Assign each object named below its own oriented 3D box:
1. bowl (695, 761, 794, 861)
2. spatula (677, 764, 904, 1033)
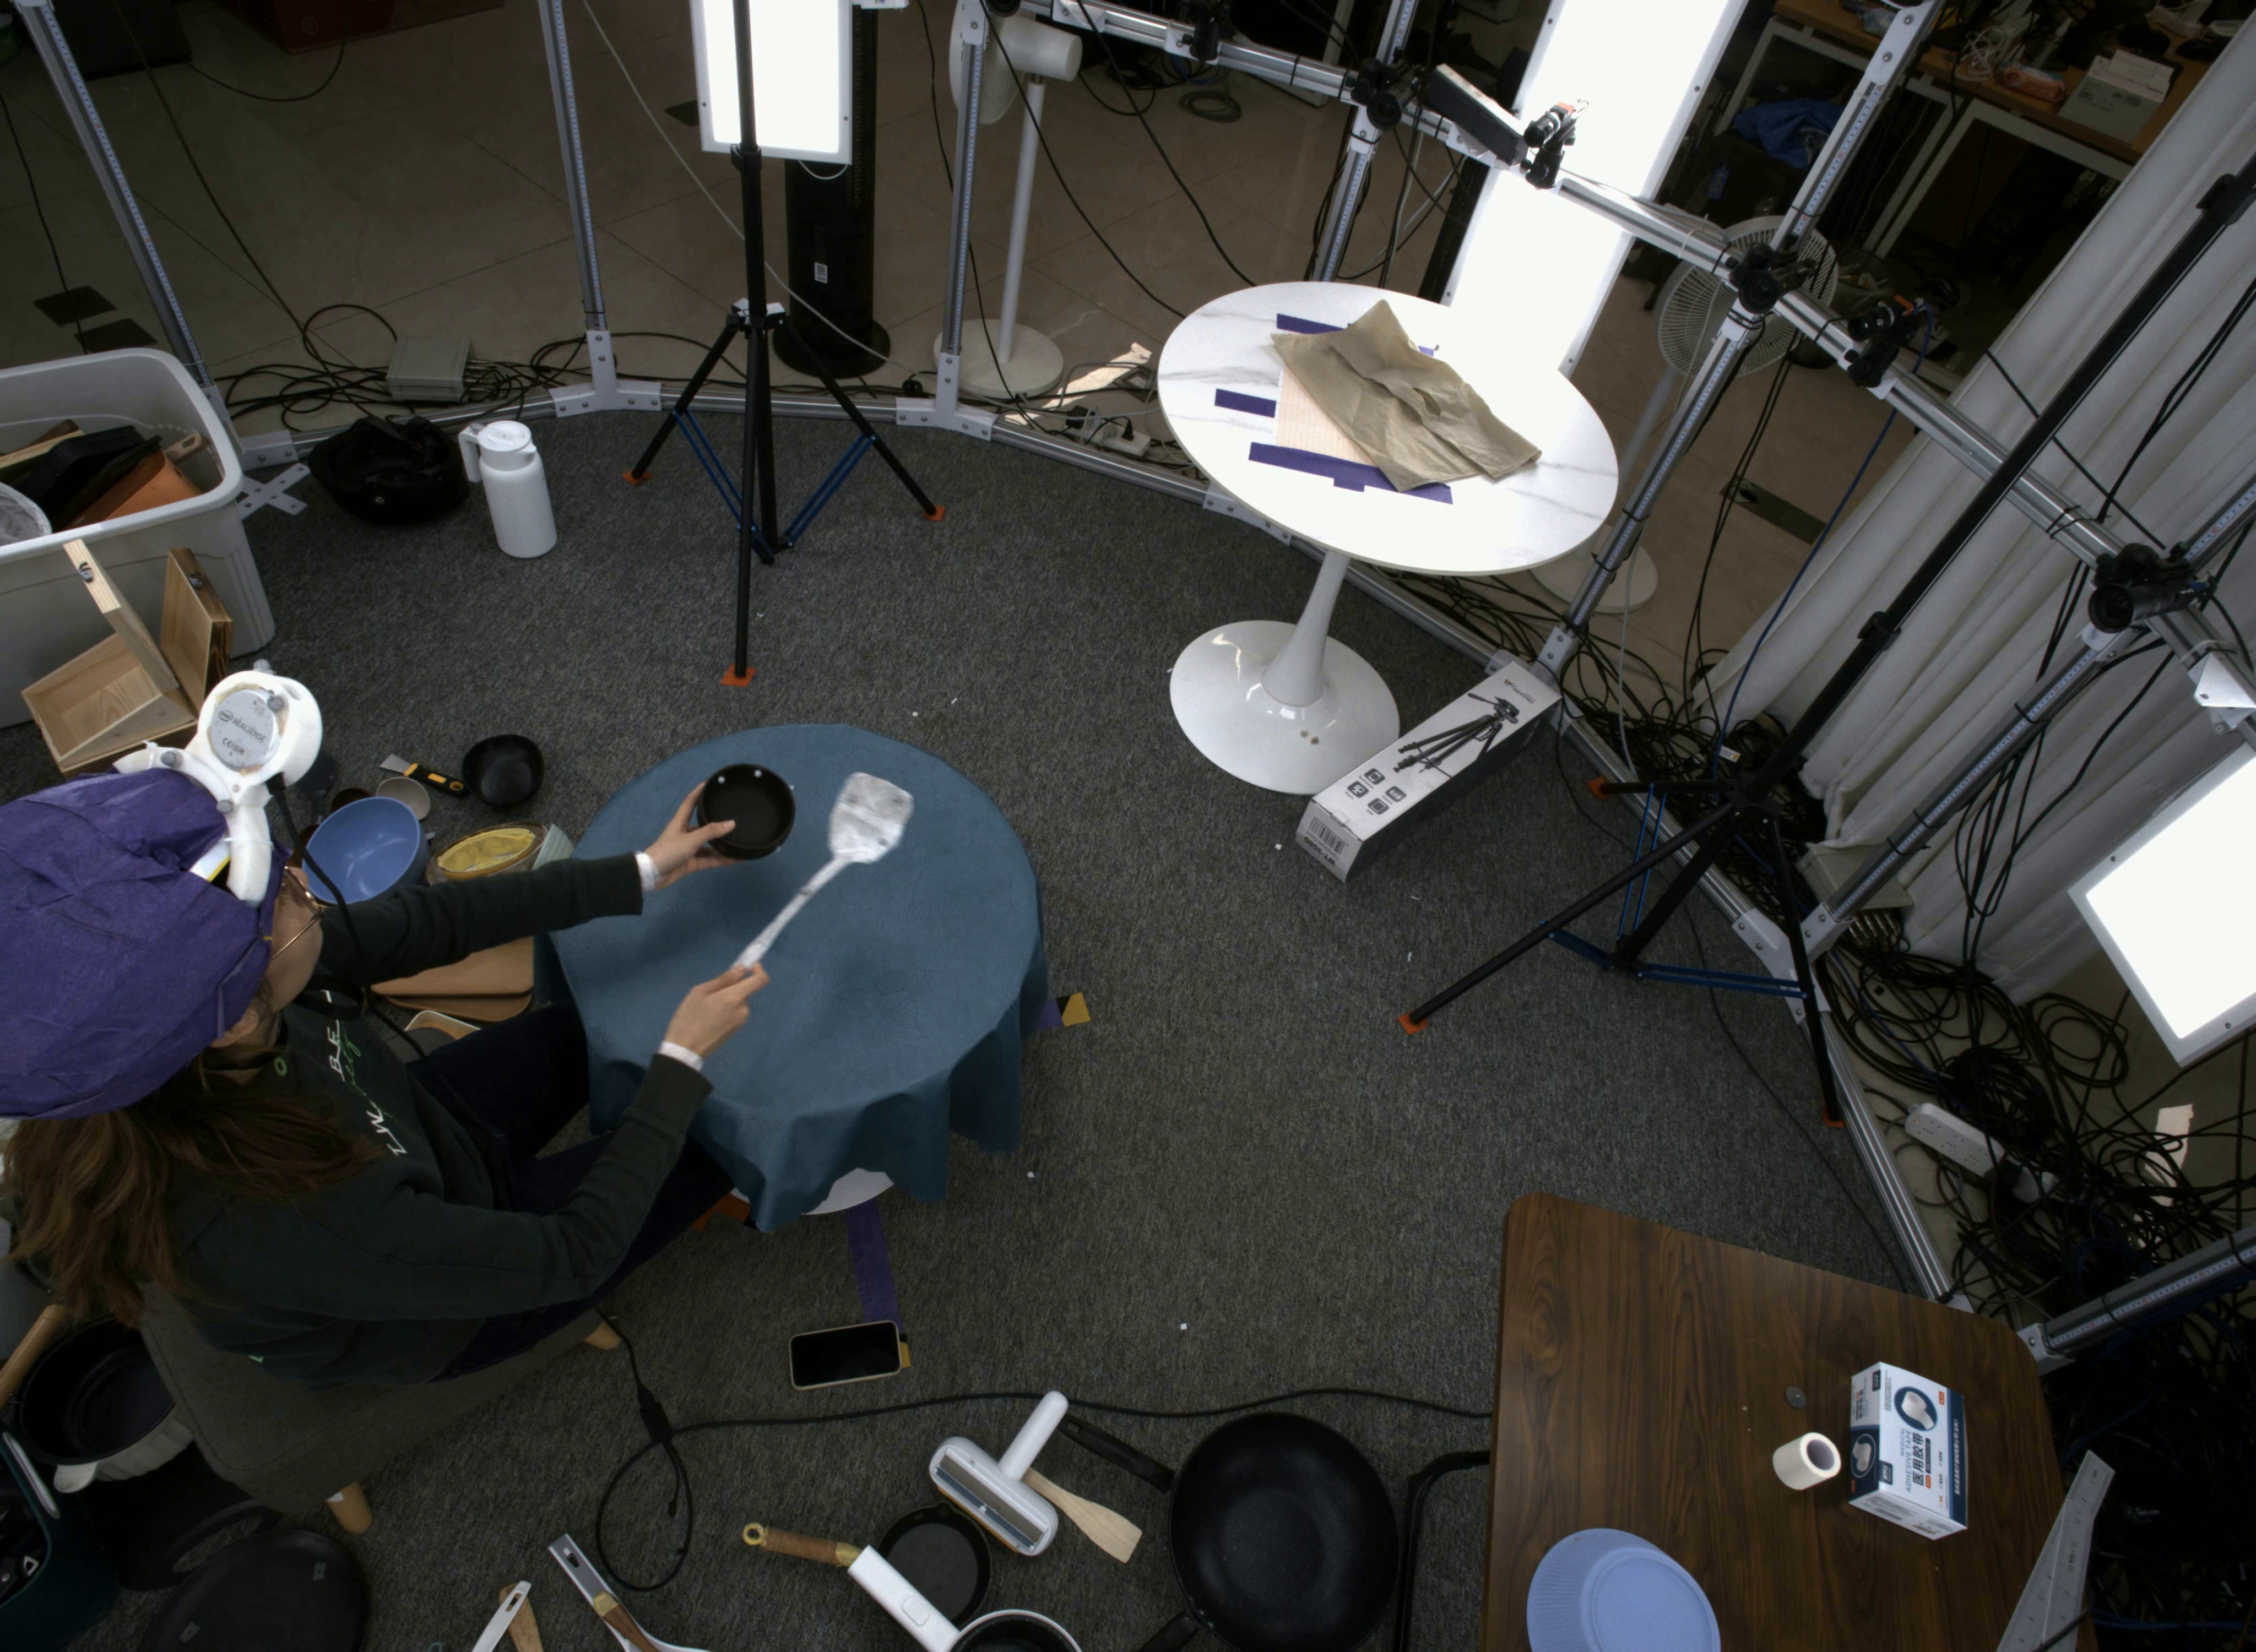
[{"bbox_3d":[-0.472,-0.013,1.586,0.119,0.070,0.117,11,64,-20],"label":"bowl"},{"bbox_3d":[-0.383,0.080,1.445,0.096,0.046,0.364,27,63,20],"label":"spatula"}]
